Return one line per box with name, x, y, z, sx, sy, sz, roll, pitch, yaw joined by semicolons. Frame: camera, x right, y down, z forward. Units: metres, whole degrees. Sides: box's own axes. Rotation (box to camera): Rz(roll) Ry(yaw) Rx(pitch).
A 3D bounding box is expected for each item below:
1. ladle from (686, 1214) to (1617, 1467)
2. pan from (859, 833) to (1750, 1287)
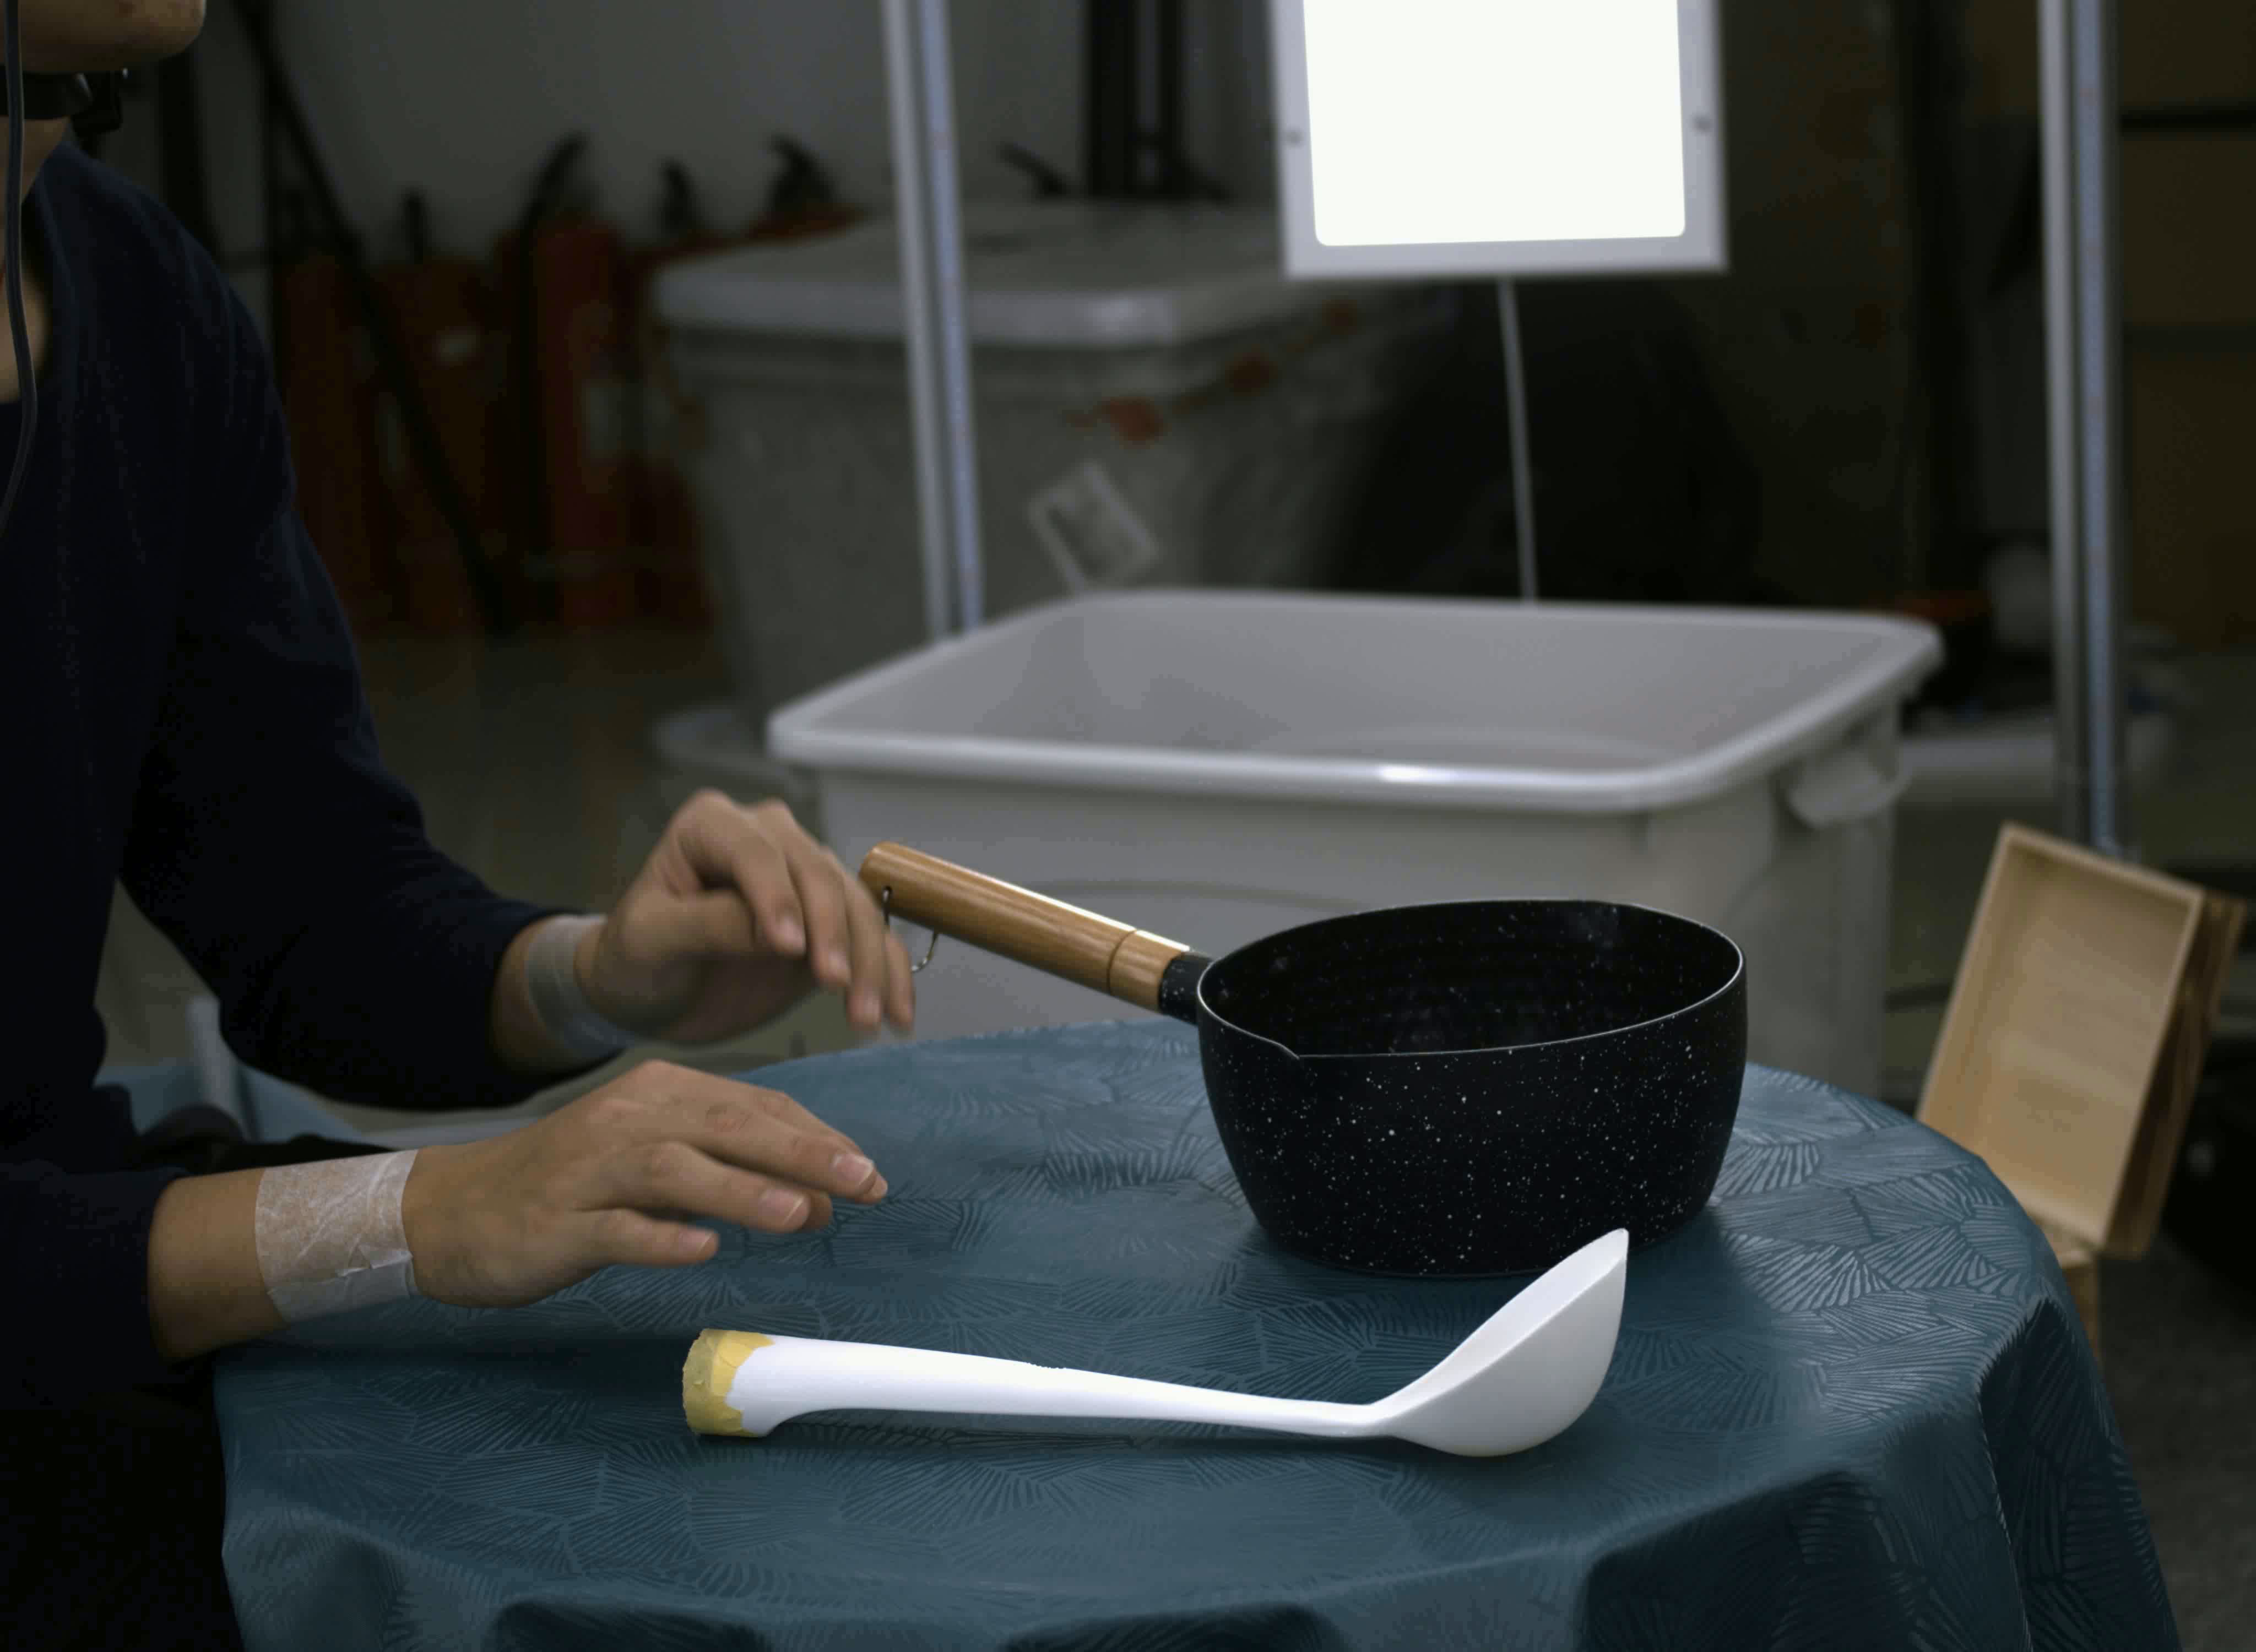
ladle;0.005;0.156;1.642;0.297;0.070;0.089;-1;20;20
pan;0.050;0.071;1.877;0.349;0.108;0.202;6;19;34
